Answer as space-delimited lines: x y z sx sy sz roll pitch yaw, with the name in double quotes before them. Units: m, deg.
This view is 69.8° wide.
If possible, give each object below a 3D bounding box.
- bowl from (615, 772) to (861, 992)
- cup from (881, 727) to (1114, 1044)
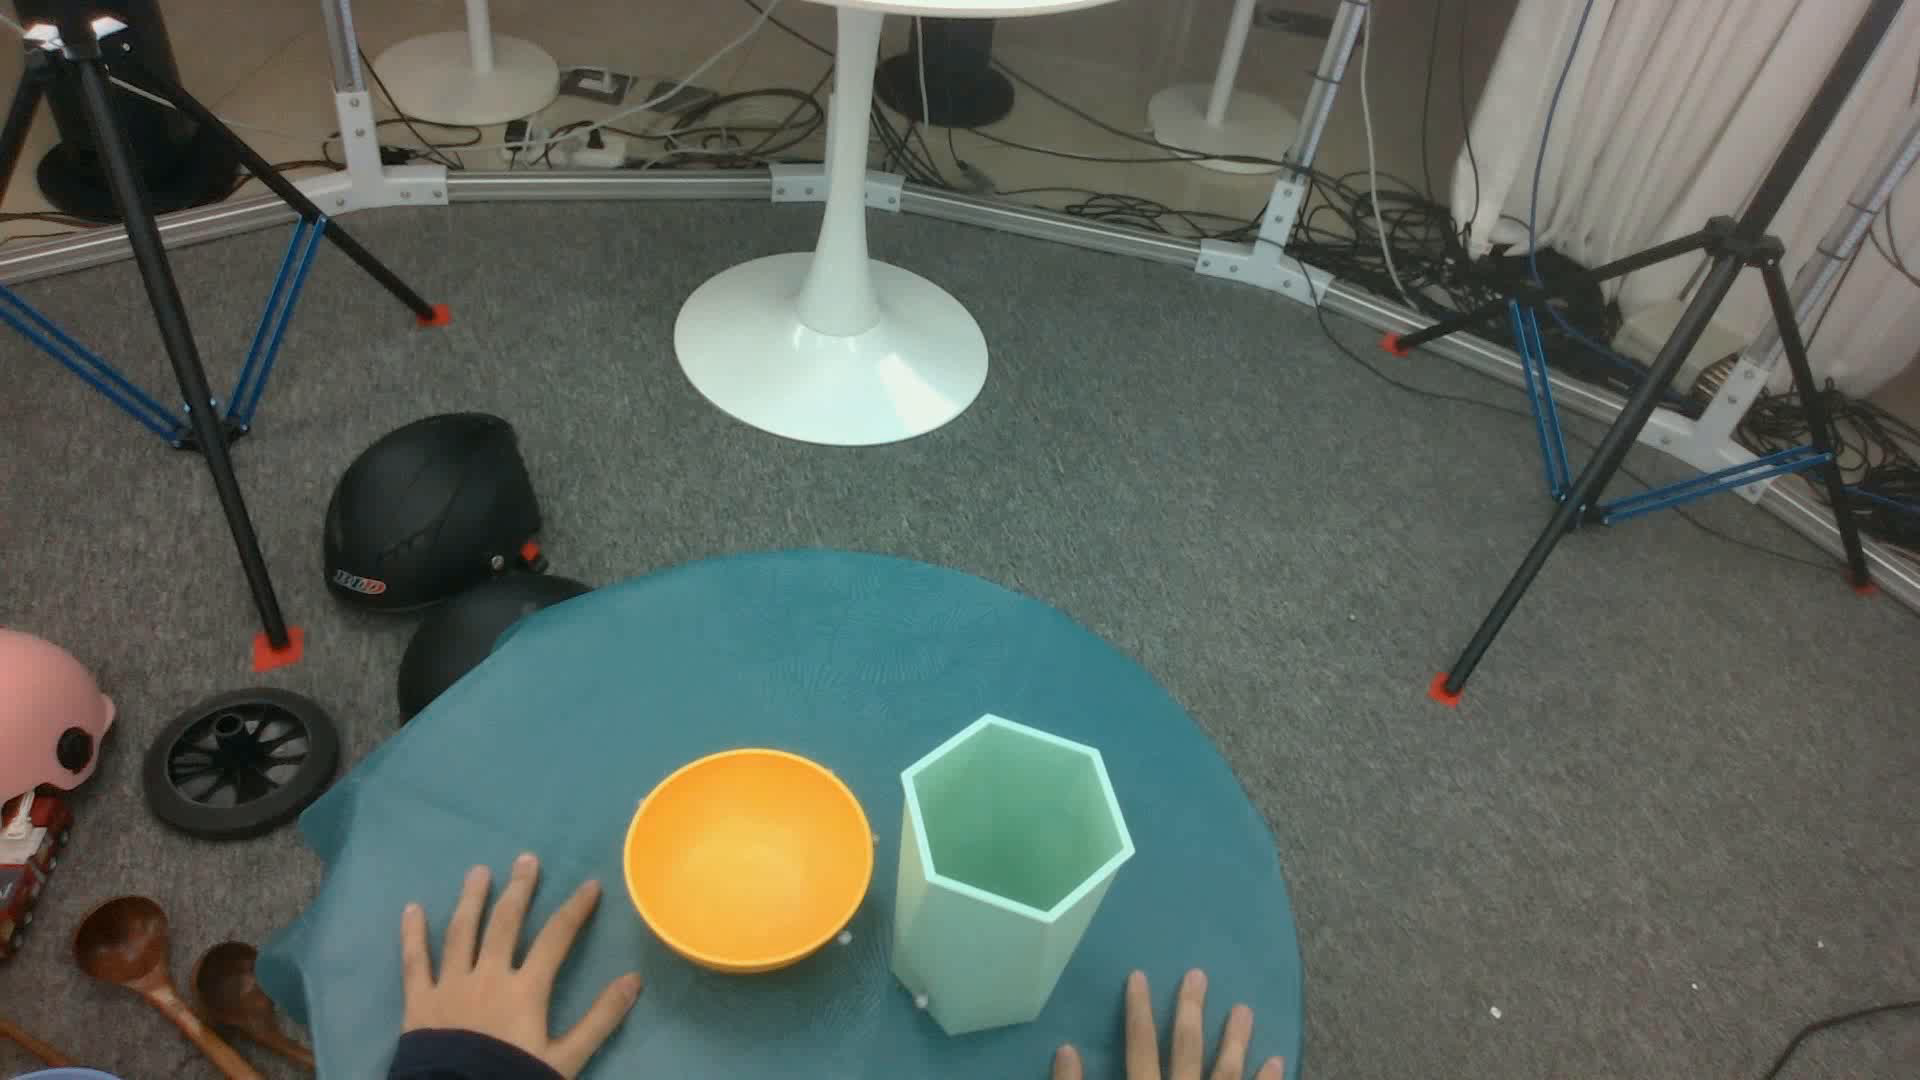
"bowl" -0.134 0.217 0.839 0.145 0.060 0.146 4 45 -4
"cup" 0.011 0.207 0.798 0.131 0.162 0.116 15 45 5
